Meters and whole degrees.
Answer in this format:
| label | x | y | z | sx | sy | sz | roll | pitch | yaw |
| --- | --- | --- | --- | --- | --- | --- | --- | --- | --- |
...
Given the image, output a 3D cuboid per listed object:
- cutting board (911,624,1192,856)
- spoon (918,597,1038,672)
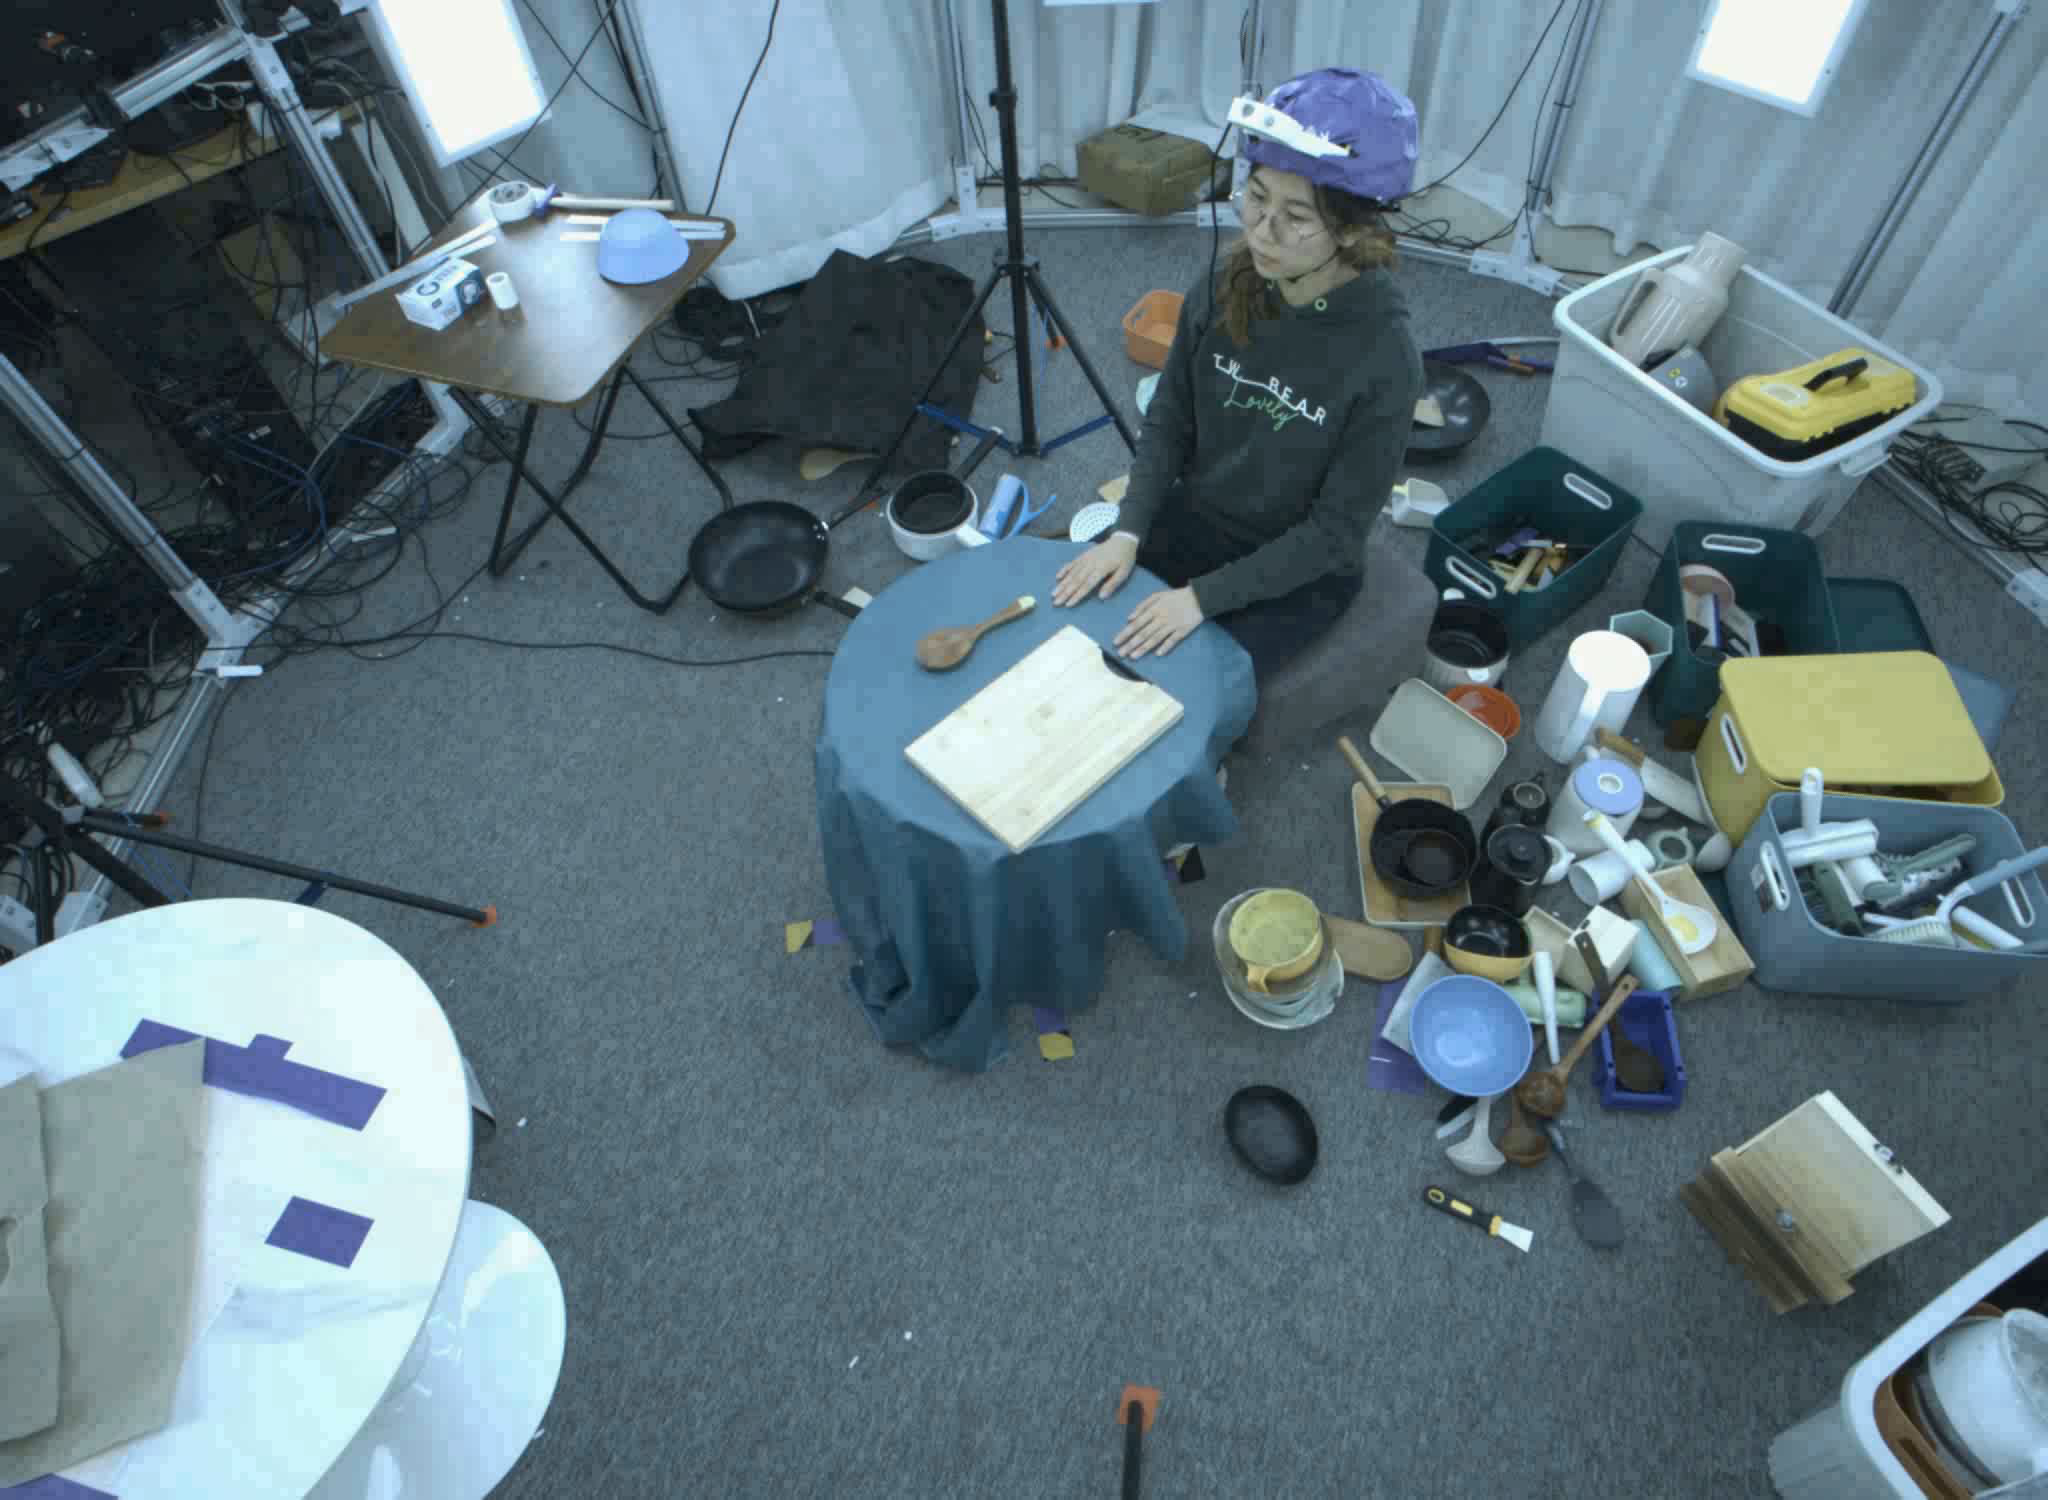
| label | x | y | z | sx | sy | sz | roll | pitch | yaw |
| --- | --- | --- | --- | --- | --- | --- | --- | --- | --- |
| cutting board | 0.039 | -0.025 | 1.804 | 0.246 | 0.024 | 0.351 | 39 | 64 | 24 |
| spoon | -0.070 | -0.182 | 1.917 | 0.217 | 0.017 | 0.074 | -32 | 58 | -18 |
